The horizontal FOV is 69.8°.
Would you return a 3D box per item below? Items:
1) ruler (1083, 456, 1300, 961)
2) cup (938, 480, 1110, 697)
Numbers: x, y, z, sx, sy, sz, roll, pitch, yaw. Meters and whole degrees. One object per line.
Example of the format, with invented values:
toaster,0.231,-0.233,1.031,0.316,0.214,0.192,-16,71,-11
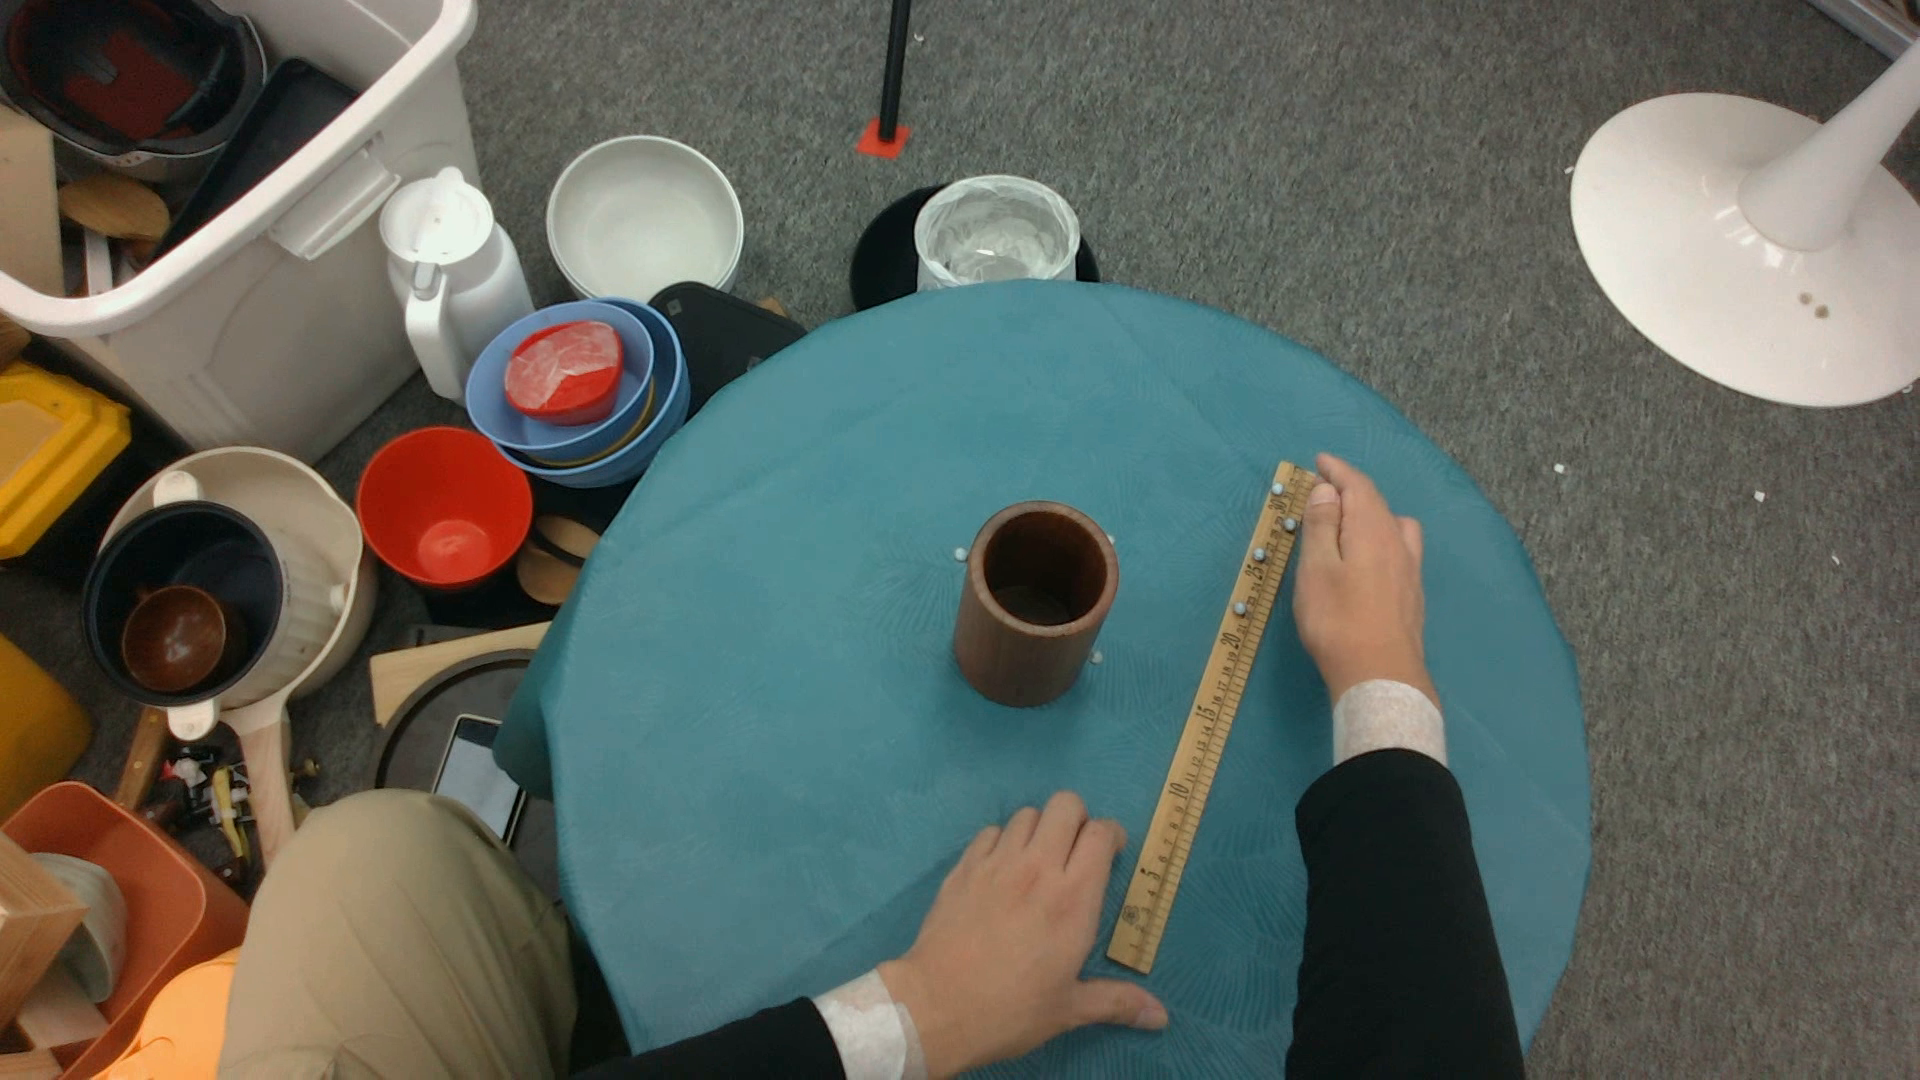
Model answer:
ruler,0.142,0.083,0.802,0.027,0.022,0.333,20,63,11
cup,0.033,0.029,0.757,0.088,0.118,0.088,2,64,-4
